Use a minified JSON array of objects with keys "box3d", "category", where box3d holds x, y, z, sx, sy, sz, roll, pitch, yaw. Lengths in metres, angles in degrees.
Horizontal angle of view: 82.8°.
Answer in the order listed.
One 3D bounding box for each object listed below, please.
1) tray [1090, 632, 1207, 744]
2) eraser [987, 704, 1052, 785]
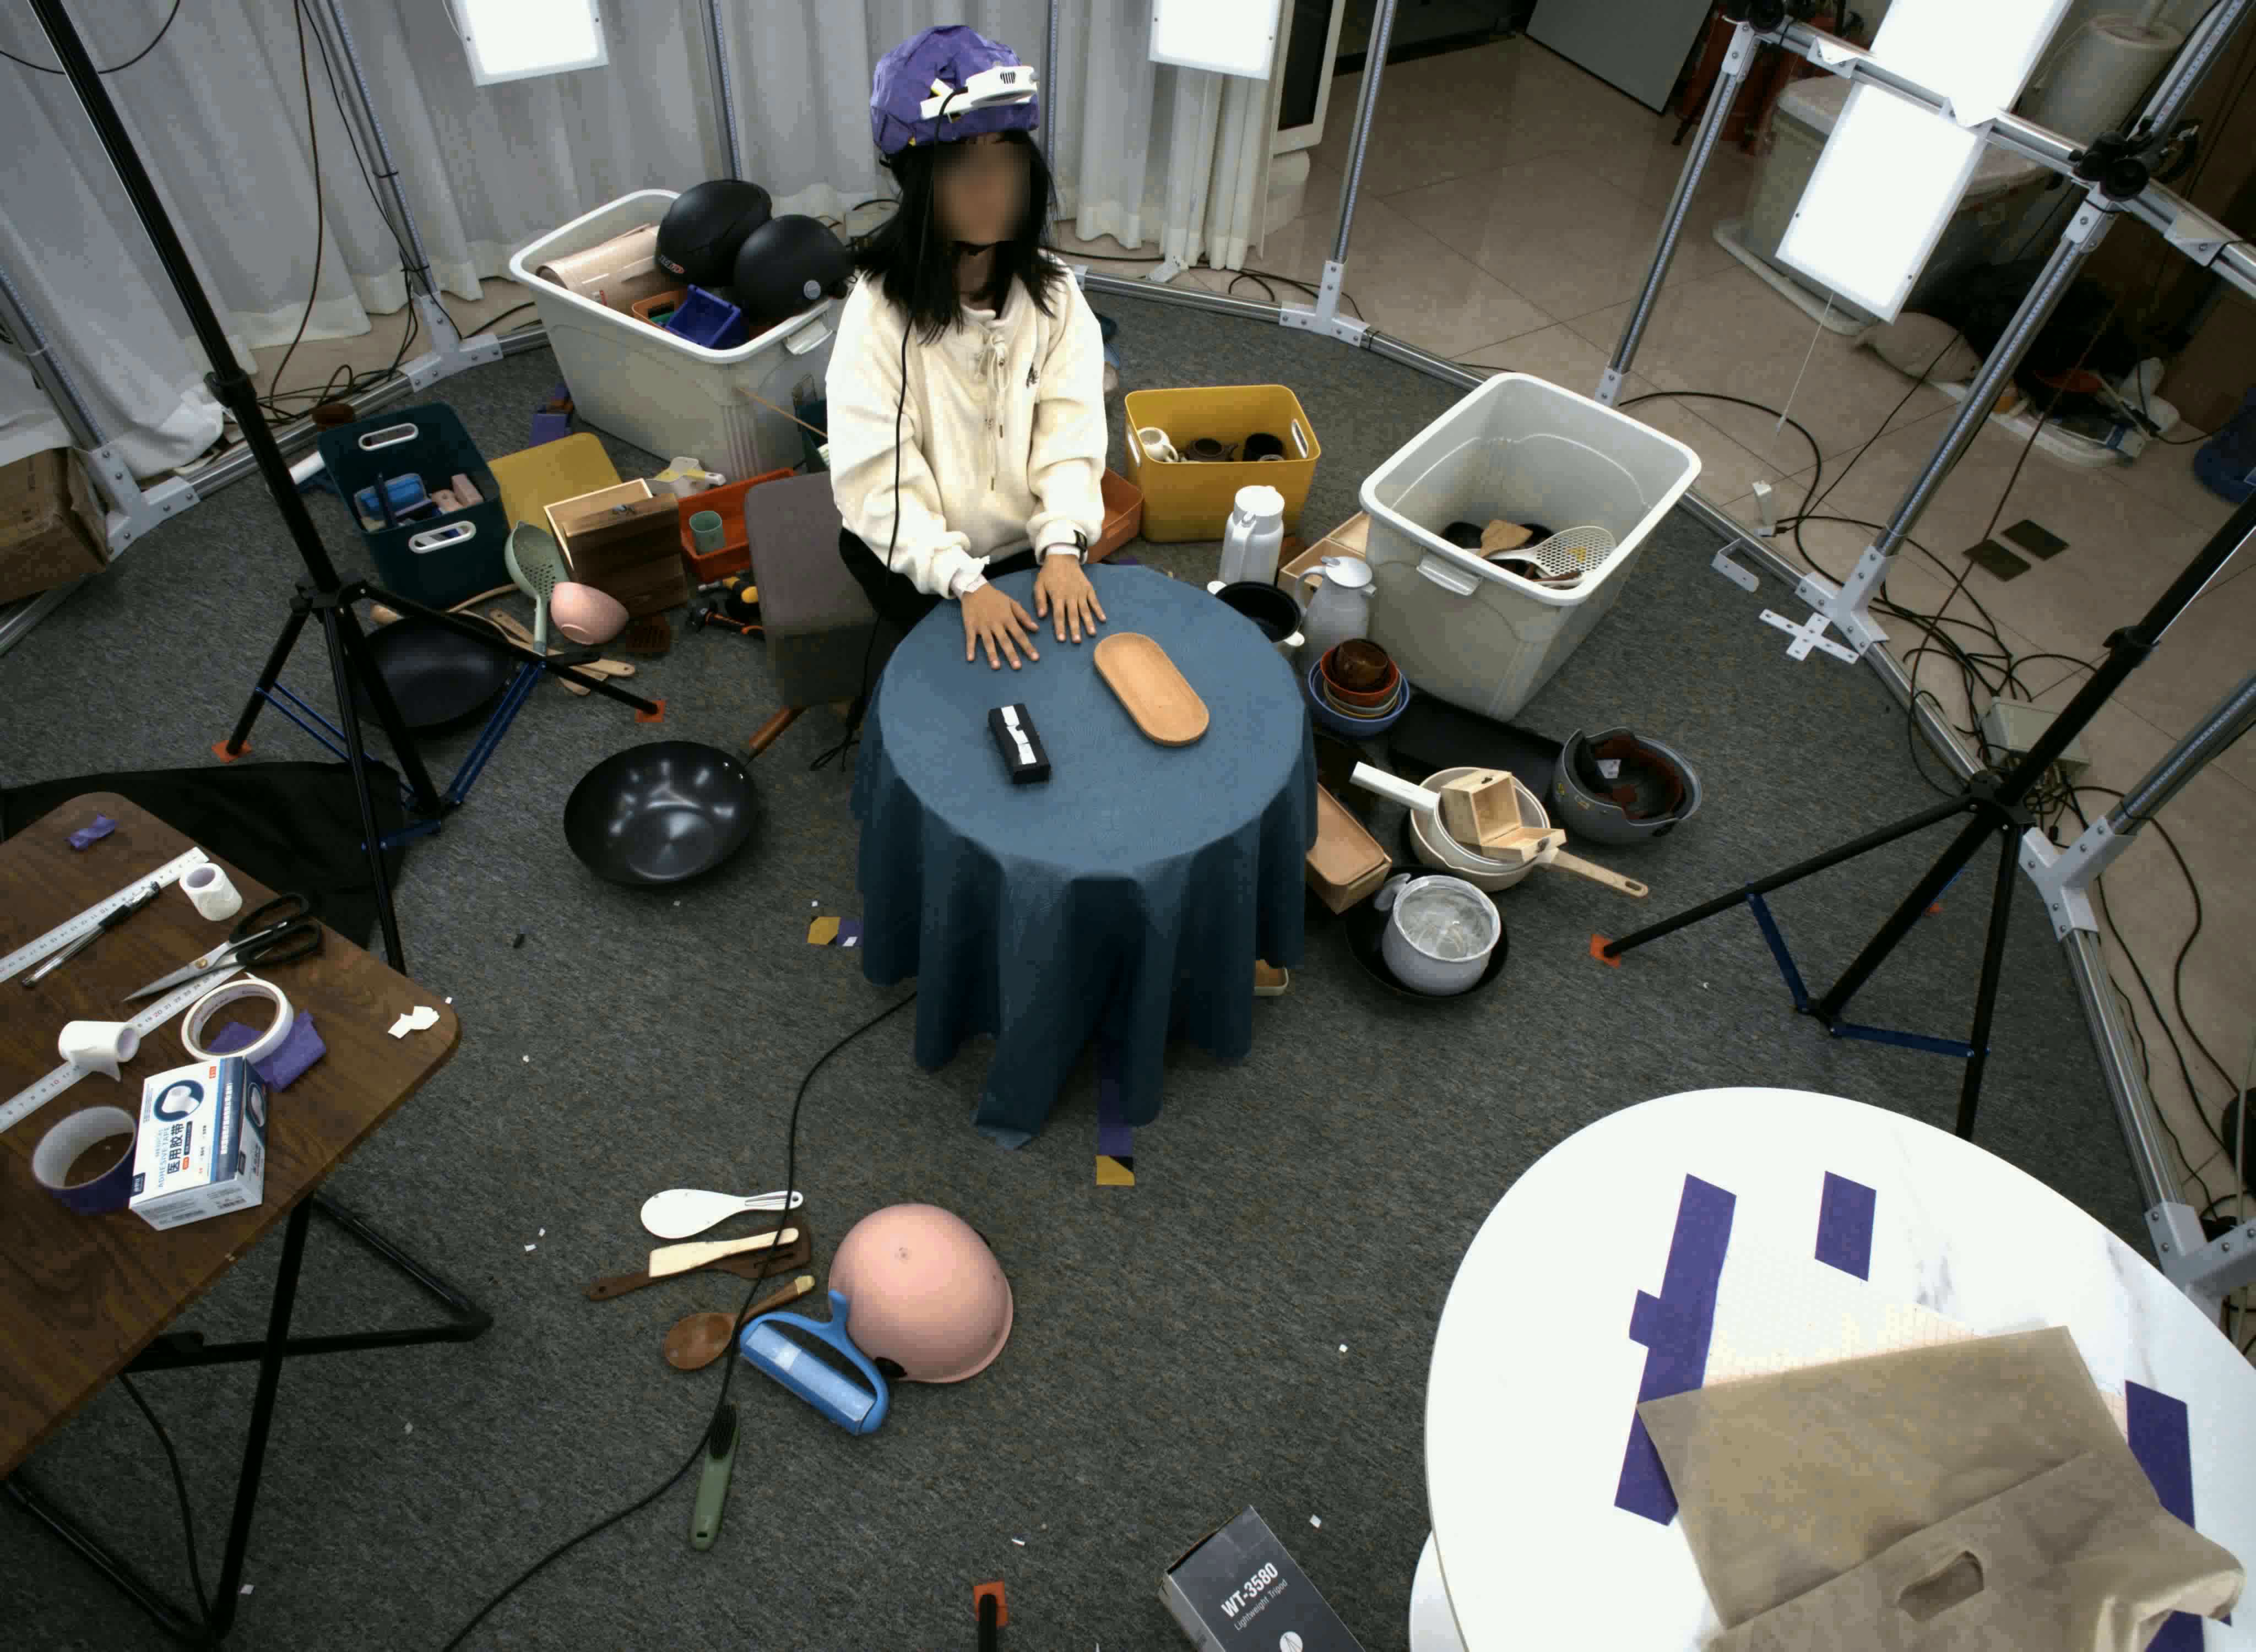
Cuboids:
[{"box3d":[0.028,-0.199,1.834,0.102,0.020,0.236,-21,52,-21],"category":"tray"},{"box3d":[-0.148,-0.111,1.737,0.053,0.030,0.128,-10,52,-20],"category":"eraser"}]
